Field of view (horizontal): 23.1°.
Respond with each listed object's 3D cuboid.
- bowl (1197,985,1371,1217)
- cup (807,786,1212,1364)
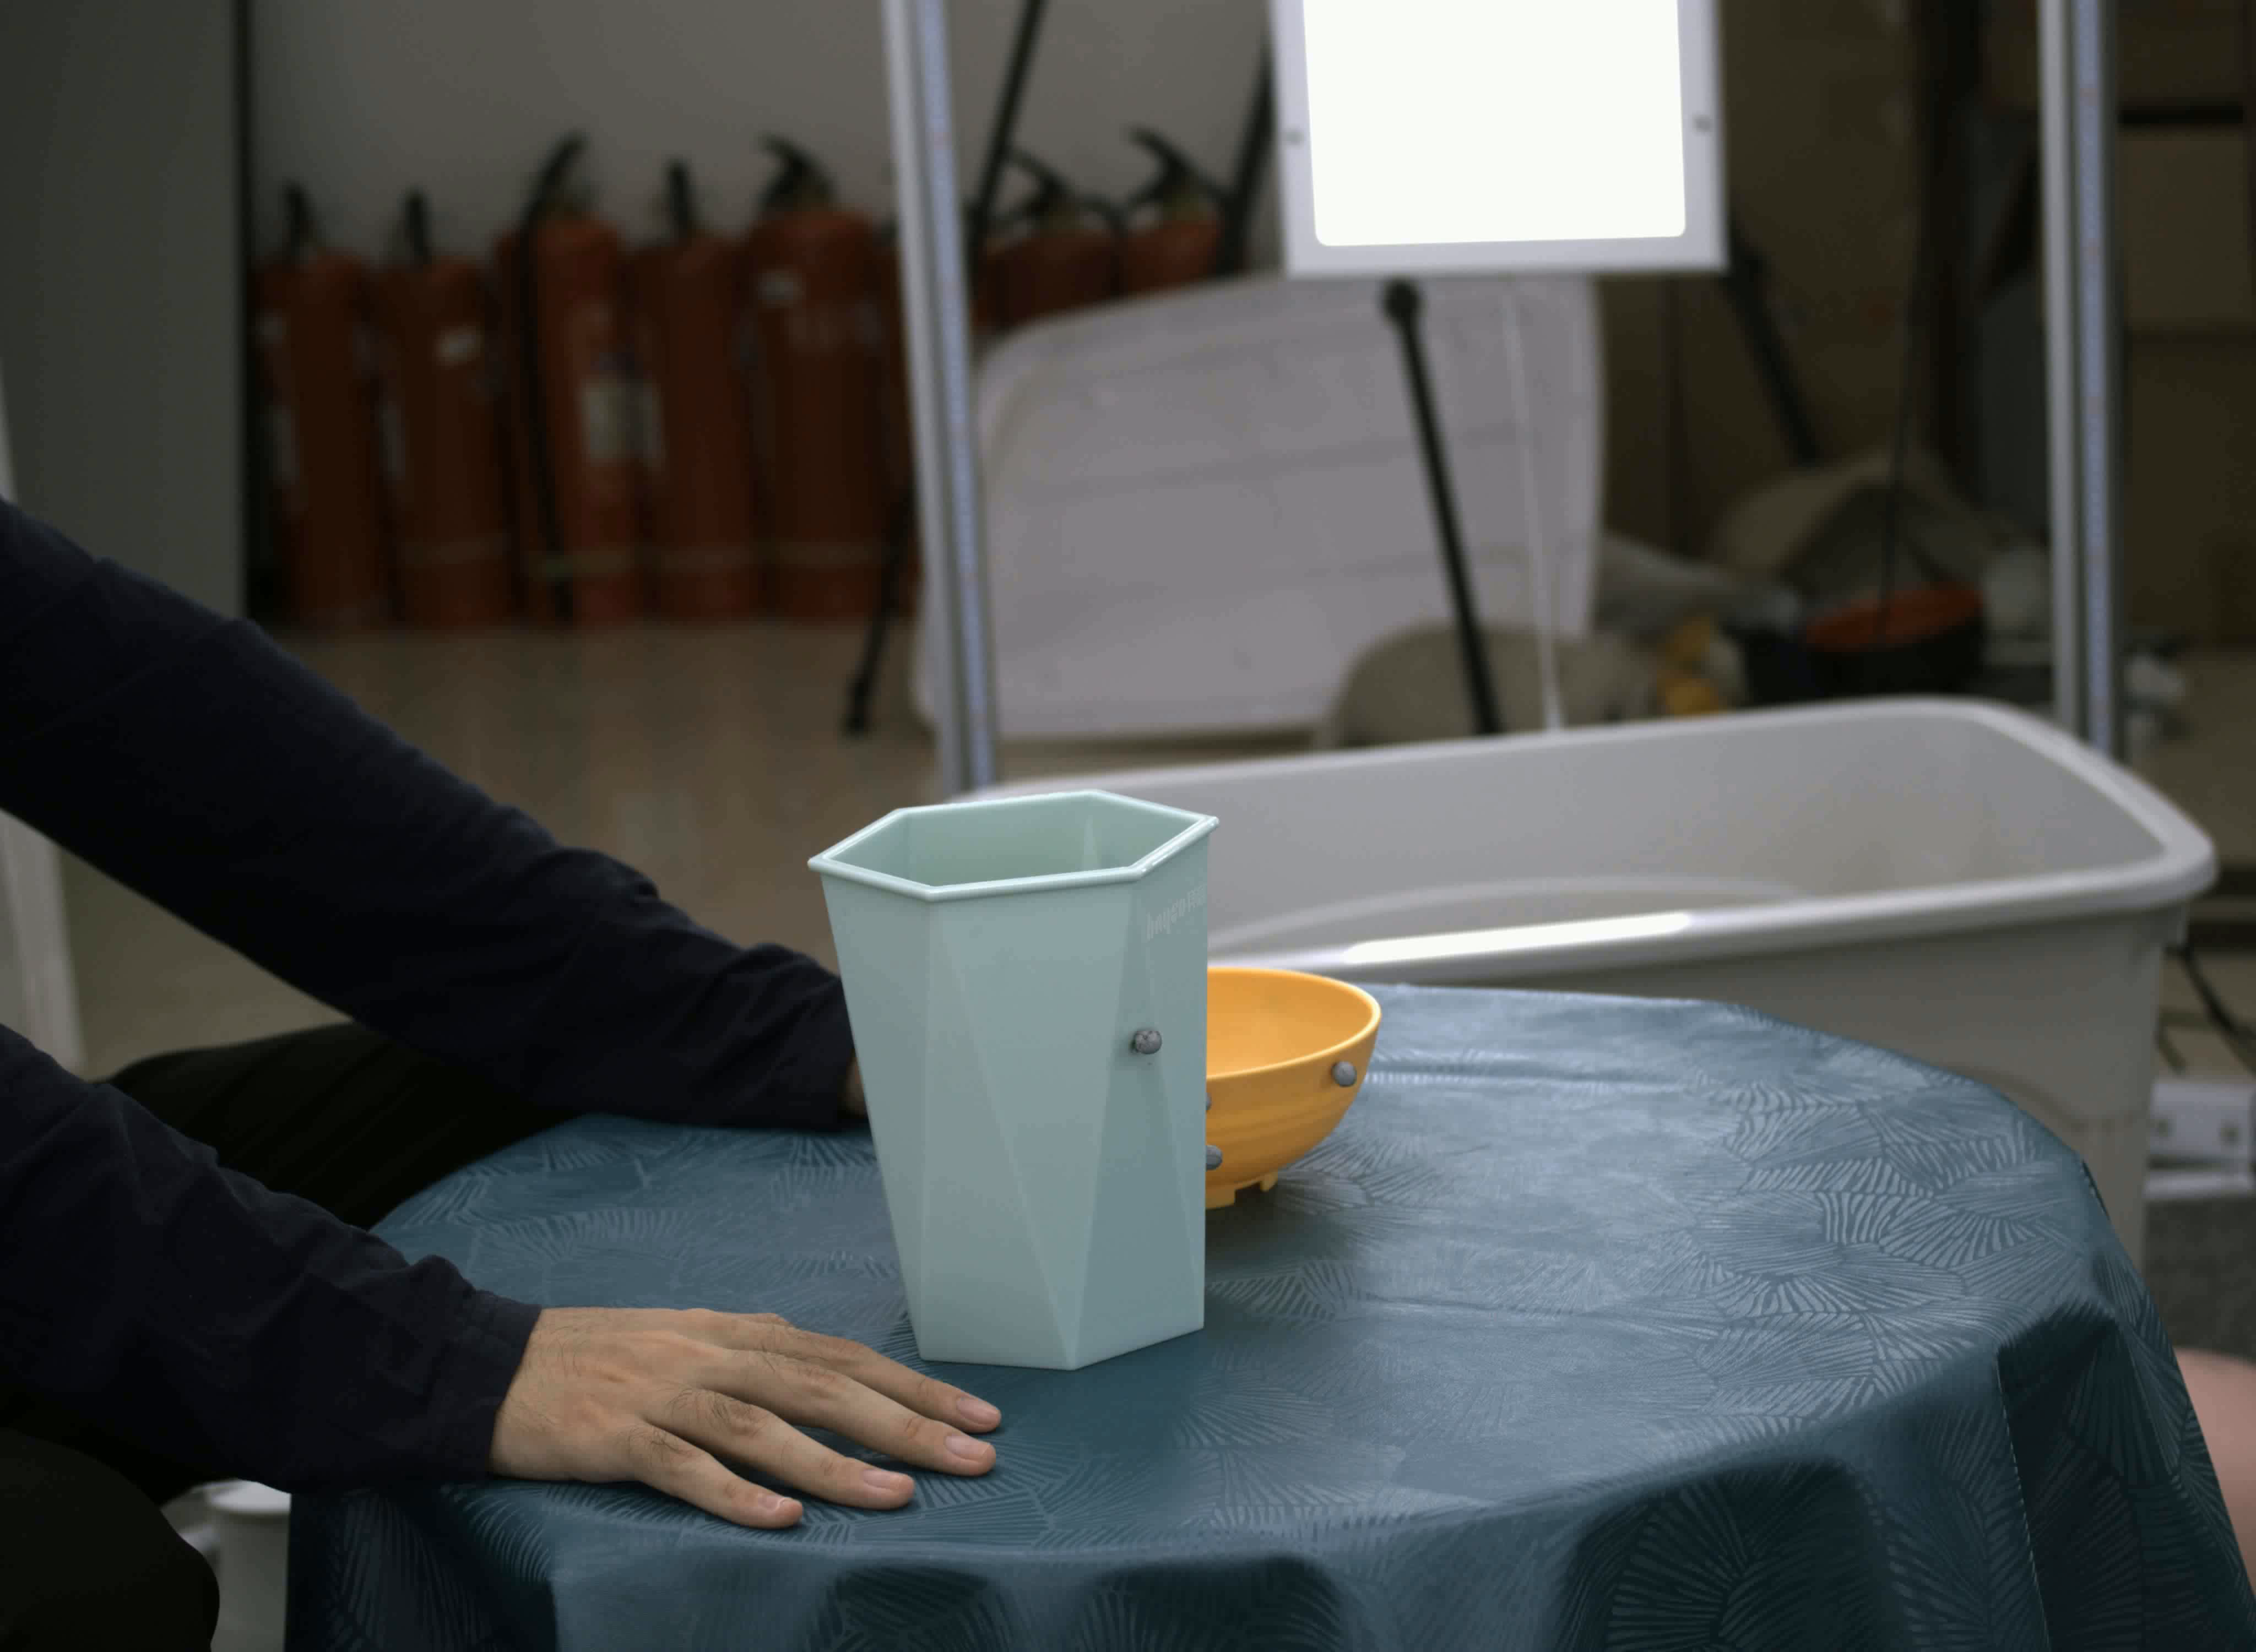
[{"bbox_3d":[0.015,0.099,1.897,0.145,0.060,0.145,-6,11,0],"label":"bowl"},{"bbox_3d":[-0.030,0.080,1.755,0.117,0.163,0.128,0,14,23],"label":"cup"}]
